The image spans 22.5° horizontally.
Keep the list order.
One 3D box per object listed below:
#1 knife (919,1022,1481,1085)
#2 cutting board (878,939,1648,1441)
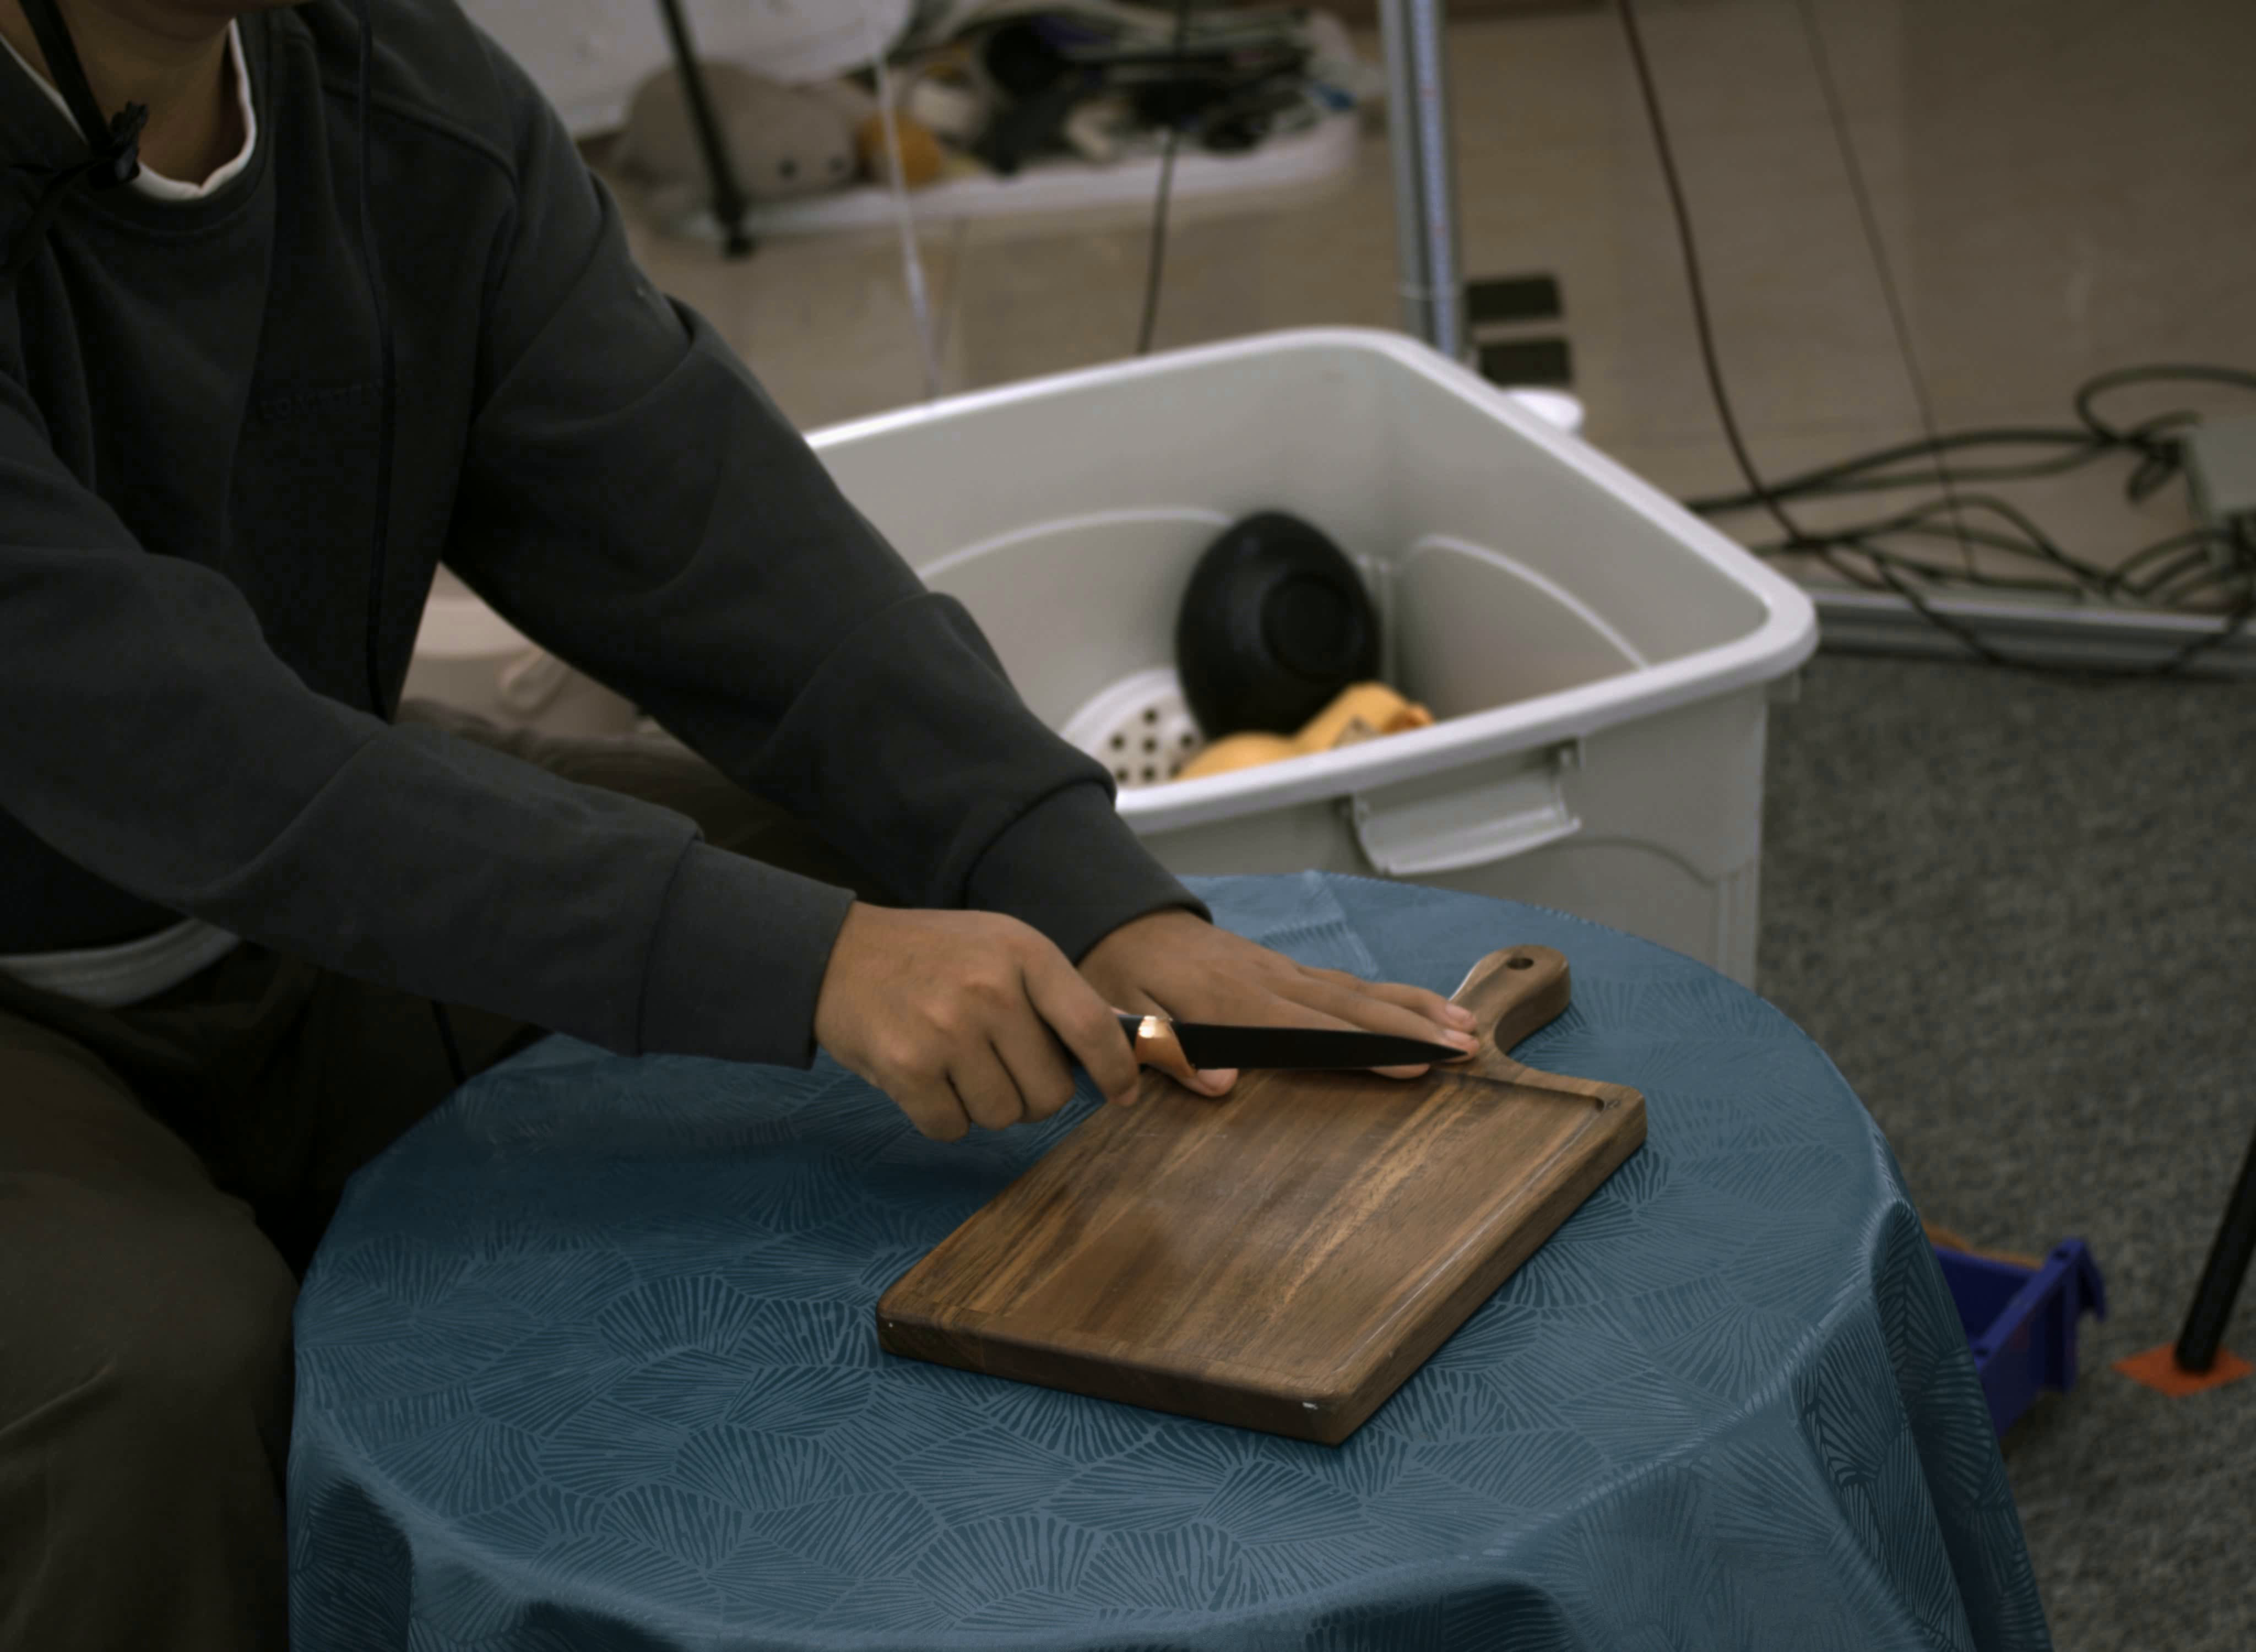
[{"bbox_3d":[0.025,0.085,2.115,0.225,0.026,0.017,-1,39,24],"label":"knife"},{"bbox_3d":[0.078,0.124,2.135,0.200,0.023,0.348,9,29,30],"label":"cutting board"}]
